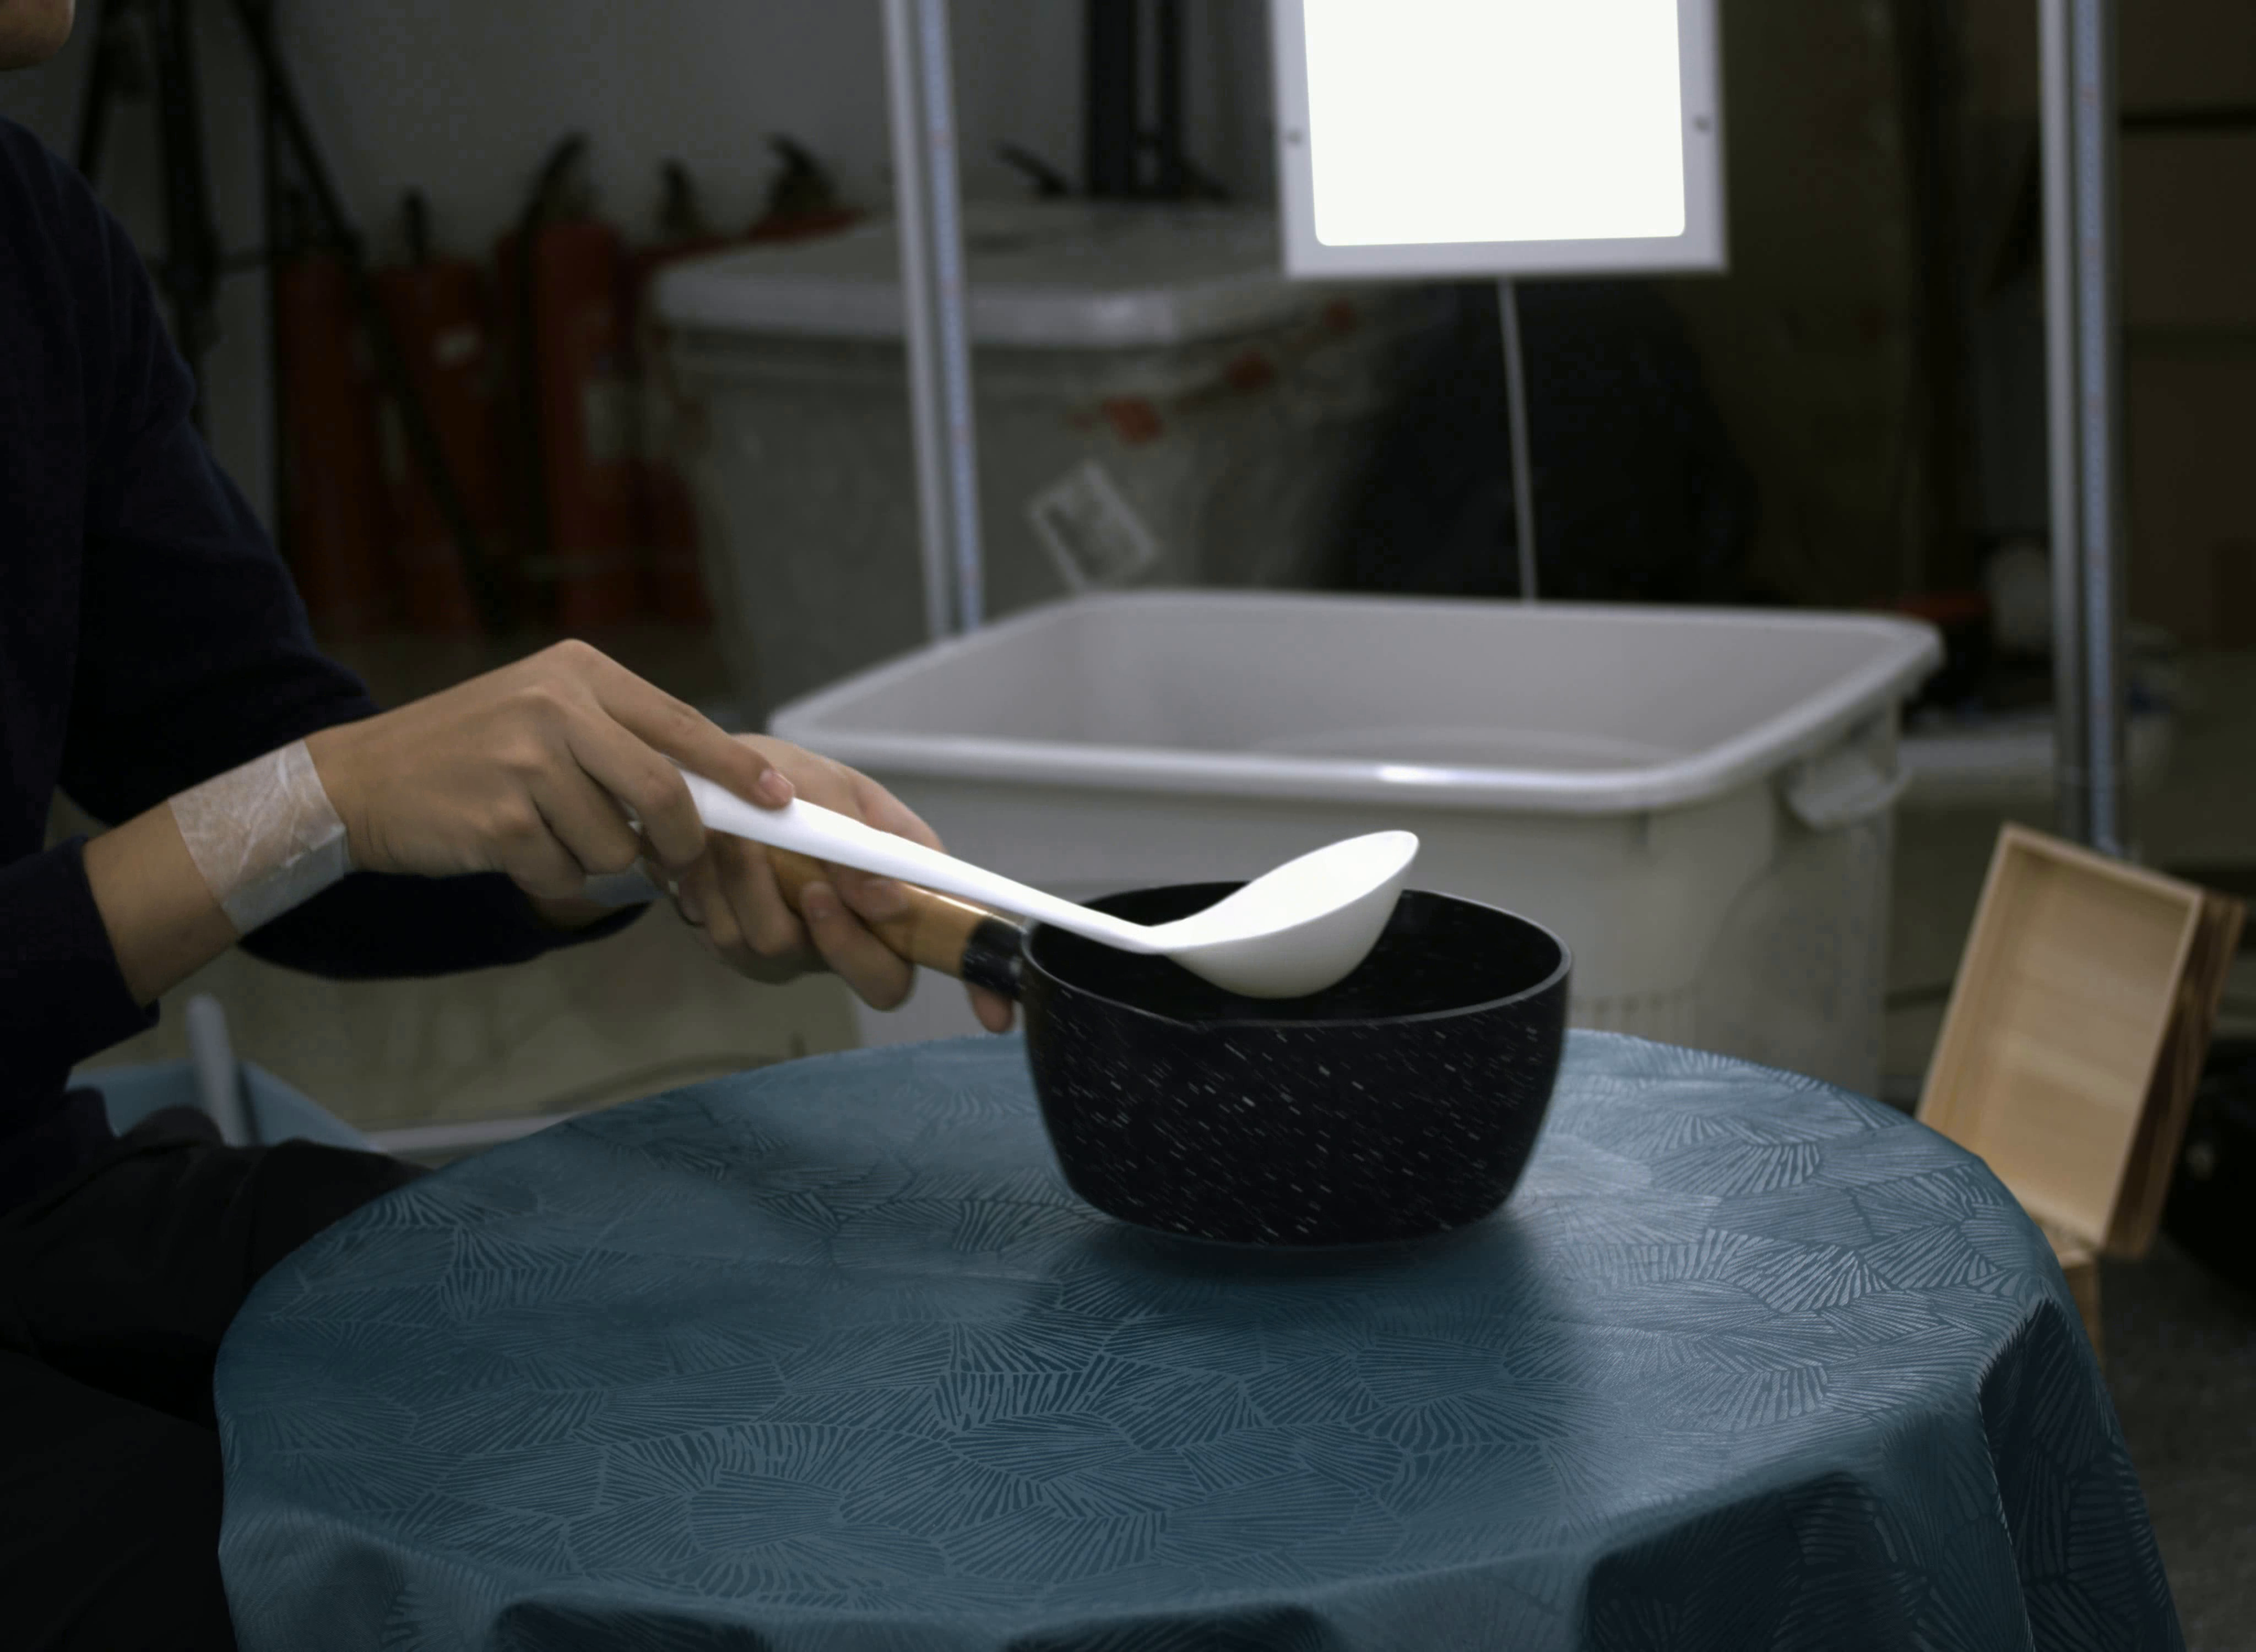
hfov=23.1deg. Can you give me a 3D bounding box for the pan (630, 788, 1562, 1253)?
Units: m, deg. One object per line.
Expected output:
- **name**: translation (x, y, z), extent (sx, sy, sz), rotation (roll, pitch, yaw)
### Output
- **pan**: translation (-0.020, 0.059, 1.873), extent (0.348, 0.109, 0.203), rotation (8, 16, 24)

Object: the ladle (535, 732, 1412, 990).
- **ladle**: translation (-0.053, 0.002, 1.852), extent (0.293, 0.070, 0.089), rotation (14, 25, 6)
